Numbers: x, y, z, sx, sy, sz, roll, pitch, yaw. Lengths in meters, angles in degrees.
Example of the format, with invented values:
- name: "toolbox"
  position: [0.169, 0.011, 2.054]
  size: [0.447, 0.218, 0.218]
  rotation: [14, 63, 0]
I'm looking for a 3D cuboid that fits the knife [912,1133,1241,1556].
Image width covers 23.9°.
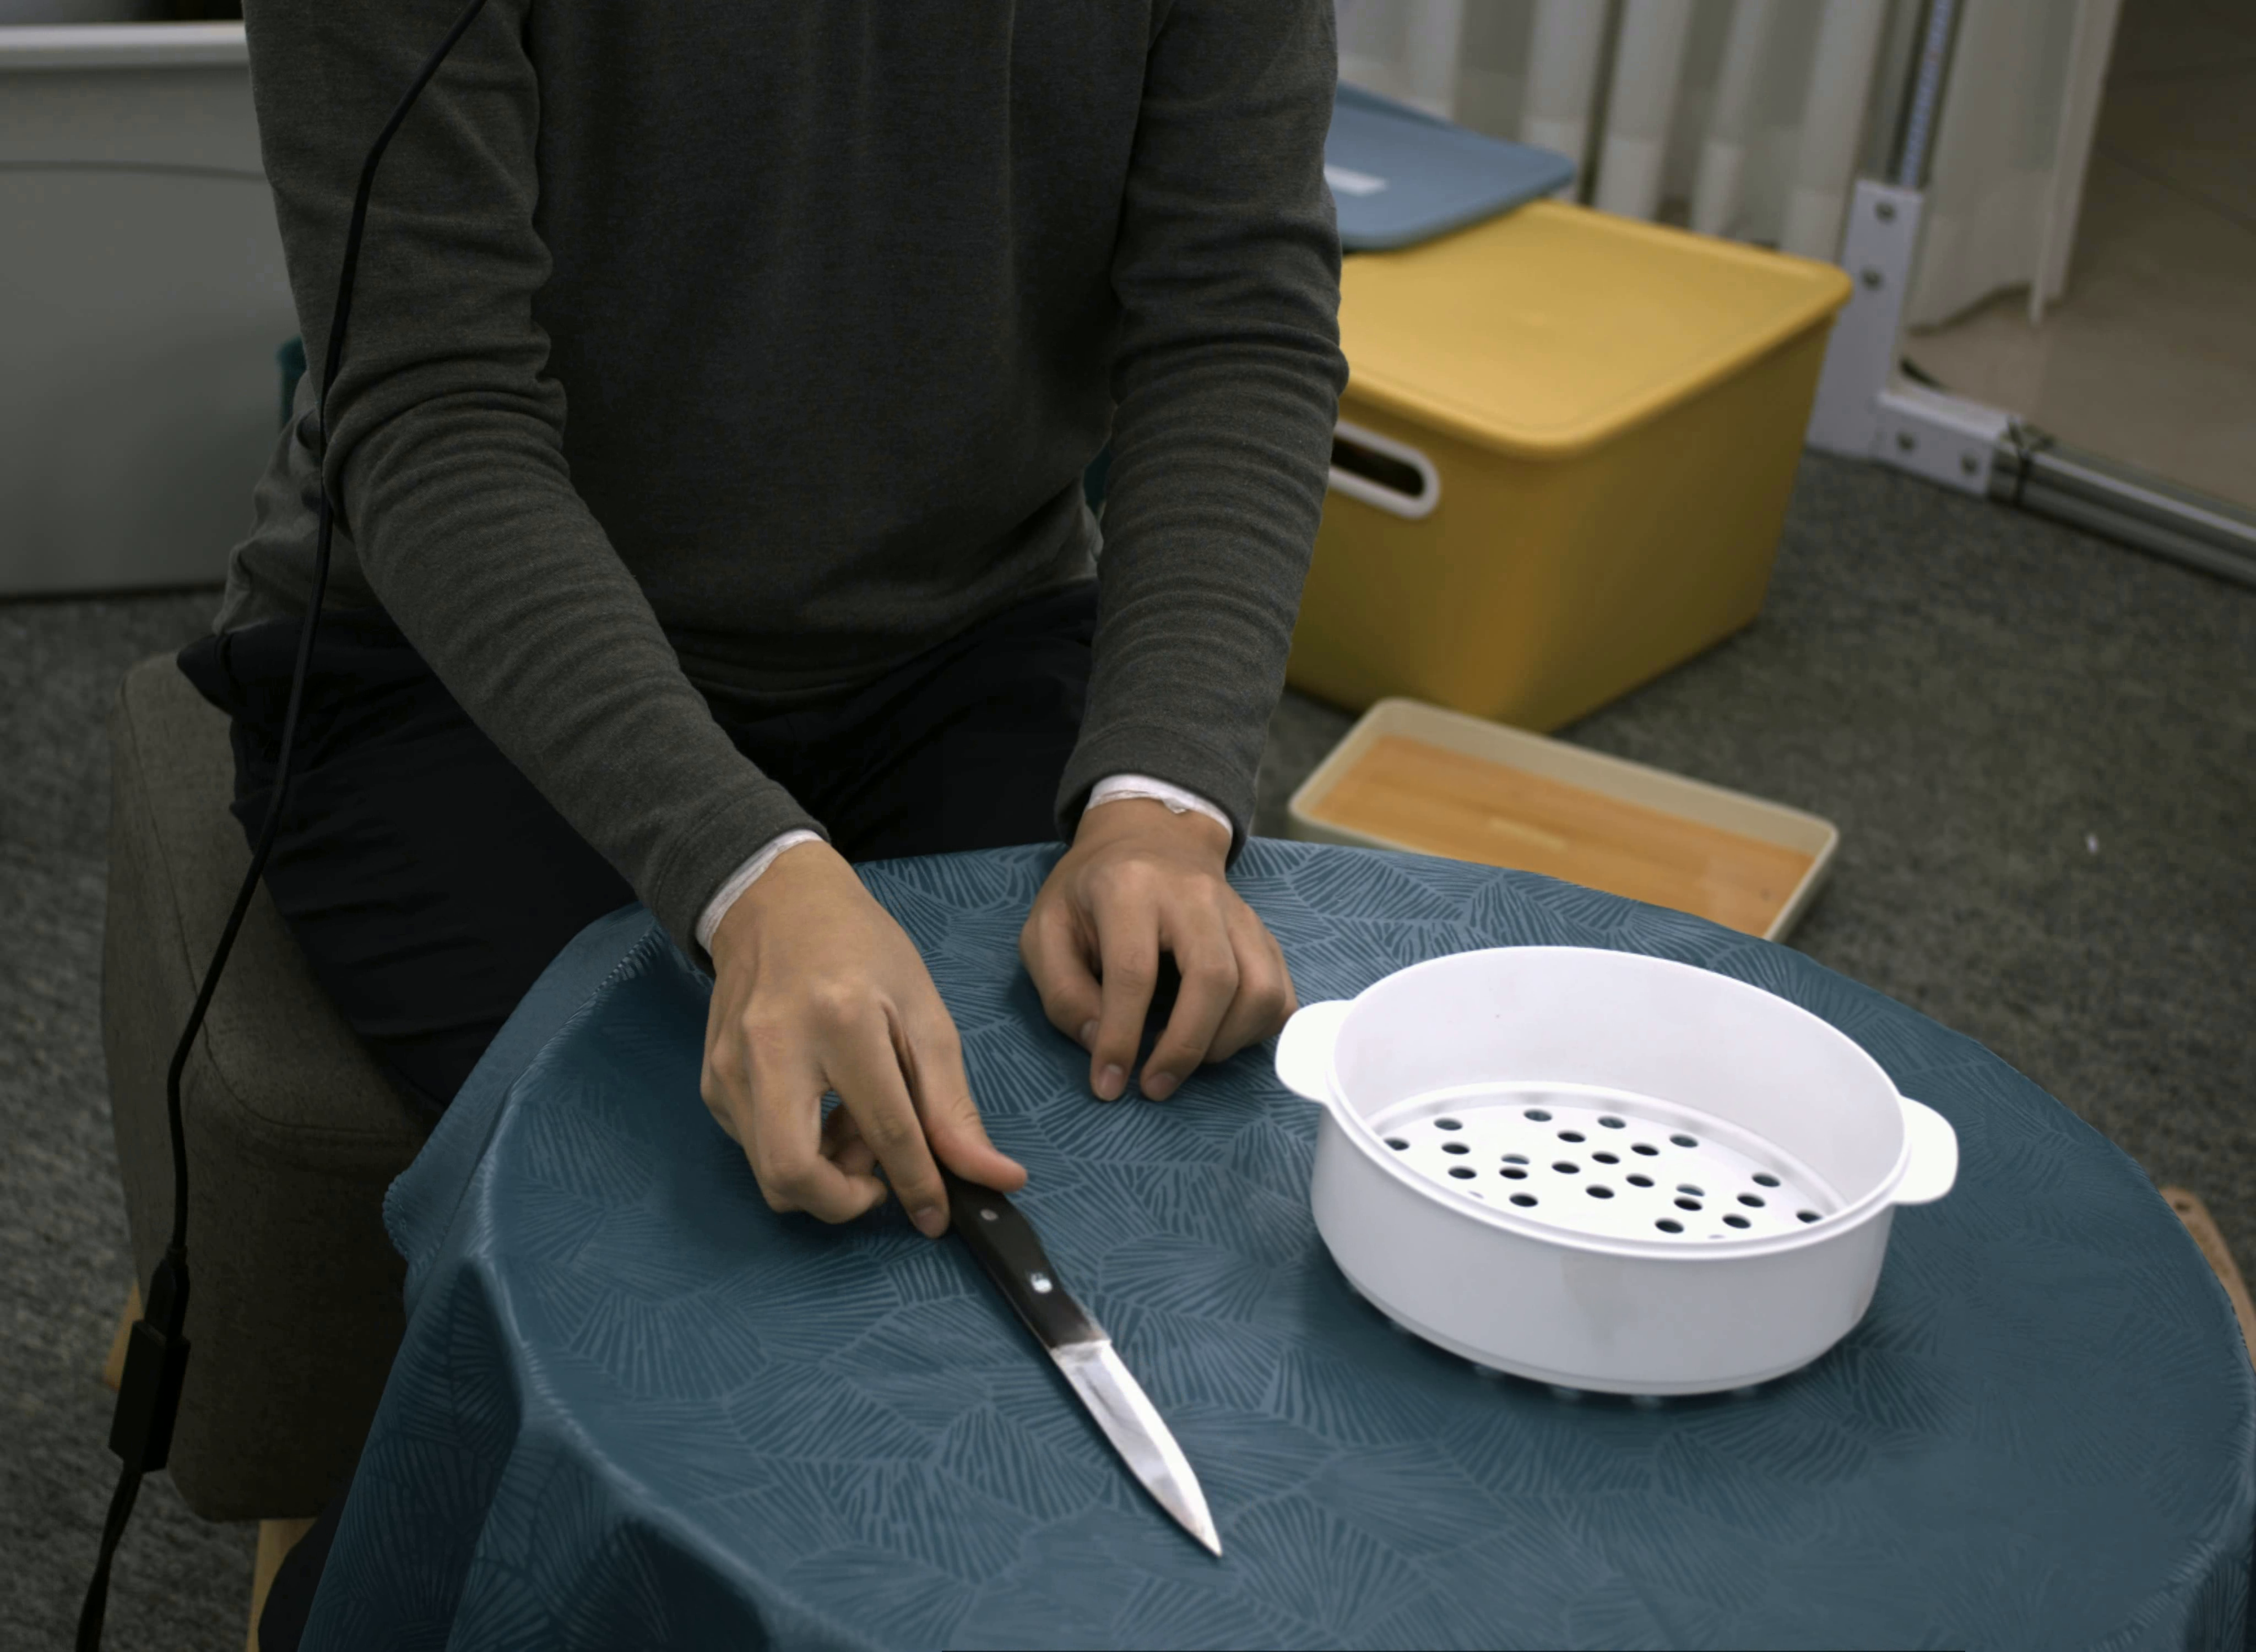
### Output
- name: "knife"
  position: [-0.019, 0.165, 1.706]
  size: [0.024, 0.016, 0.240]
  rotation: [-6, 31, -25]

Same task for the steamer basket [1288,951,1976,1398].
- name: "steamer basket"
  position: [0.165, 0.116, 1.782]
  size: [0.230, 0.069, 0.202]
  rotation: [9, 26, 7]
